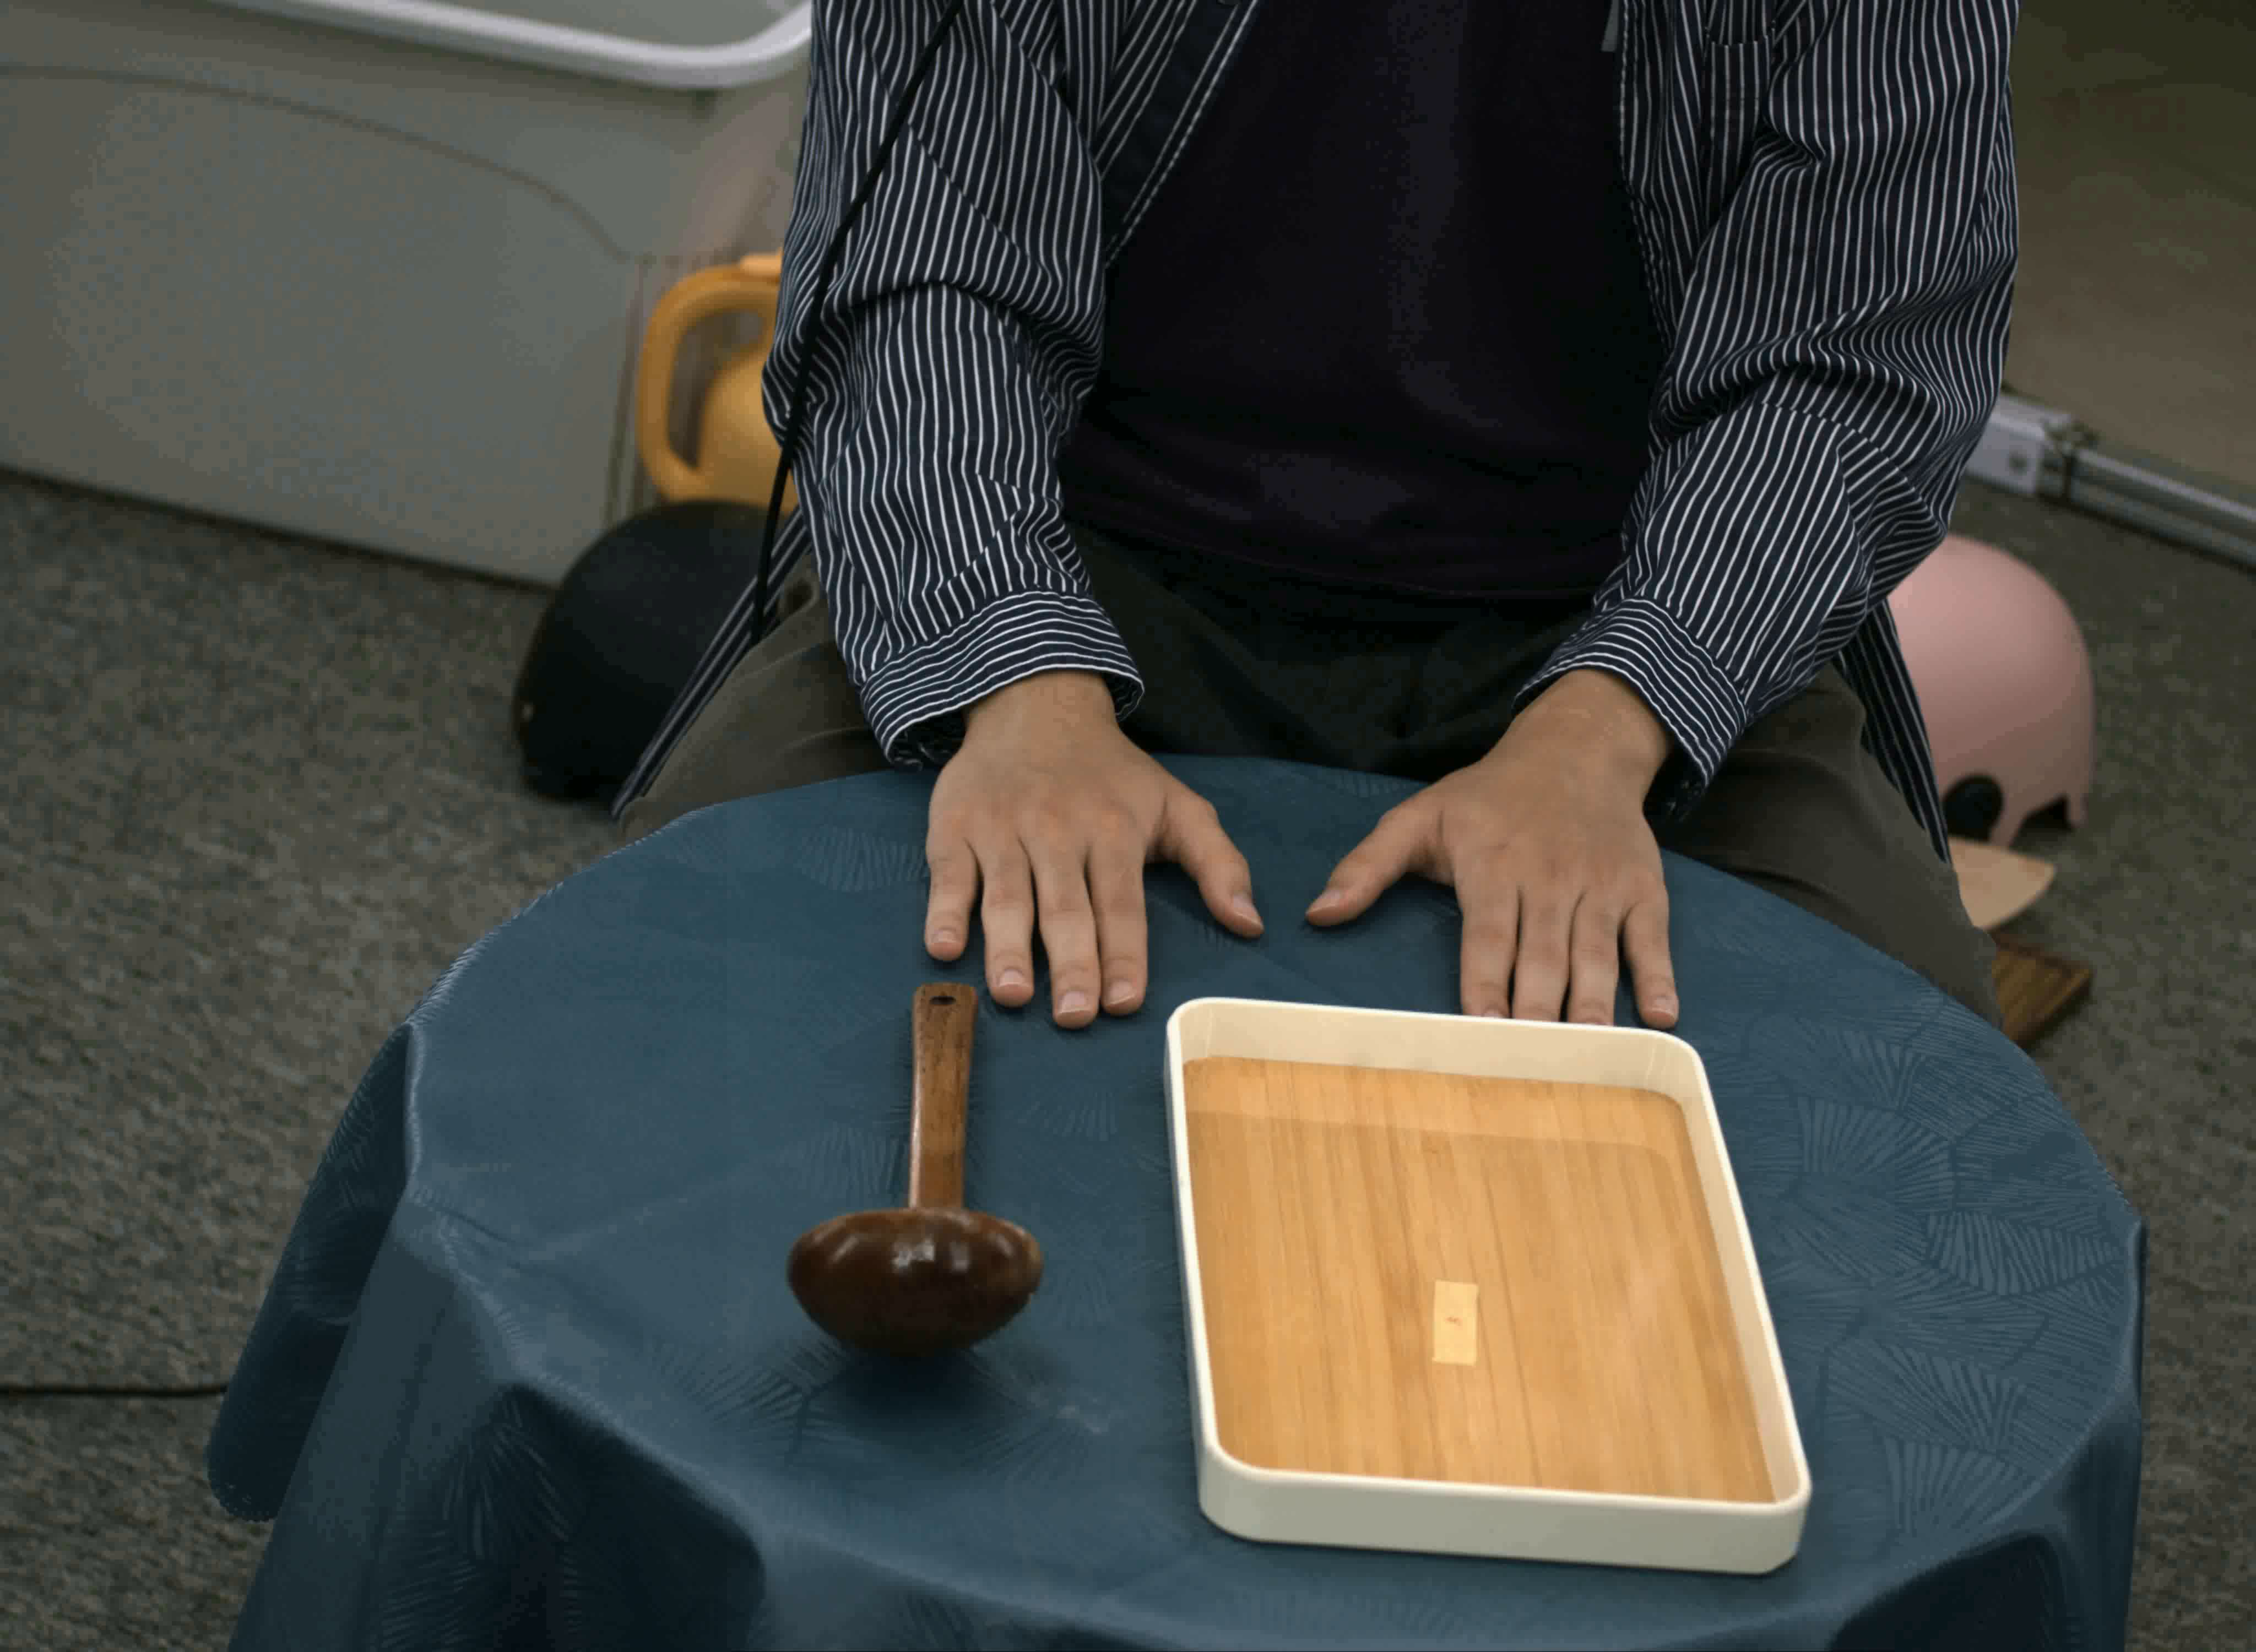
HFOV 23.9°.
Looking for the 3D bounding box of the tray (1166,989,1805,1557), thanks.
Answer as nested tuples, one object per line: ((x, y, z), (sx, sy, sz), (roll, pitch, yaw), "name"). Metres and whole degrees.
((0.111, 0.142, 1.759), (0.191, 0.027, 0.302), (4, 26, -3), "tray")

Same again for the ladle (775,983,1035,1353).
((-0.066, 0.093, 1.761), (0.082, 0.076, 0.275), (3, 27, 1), "ladle")
